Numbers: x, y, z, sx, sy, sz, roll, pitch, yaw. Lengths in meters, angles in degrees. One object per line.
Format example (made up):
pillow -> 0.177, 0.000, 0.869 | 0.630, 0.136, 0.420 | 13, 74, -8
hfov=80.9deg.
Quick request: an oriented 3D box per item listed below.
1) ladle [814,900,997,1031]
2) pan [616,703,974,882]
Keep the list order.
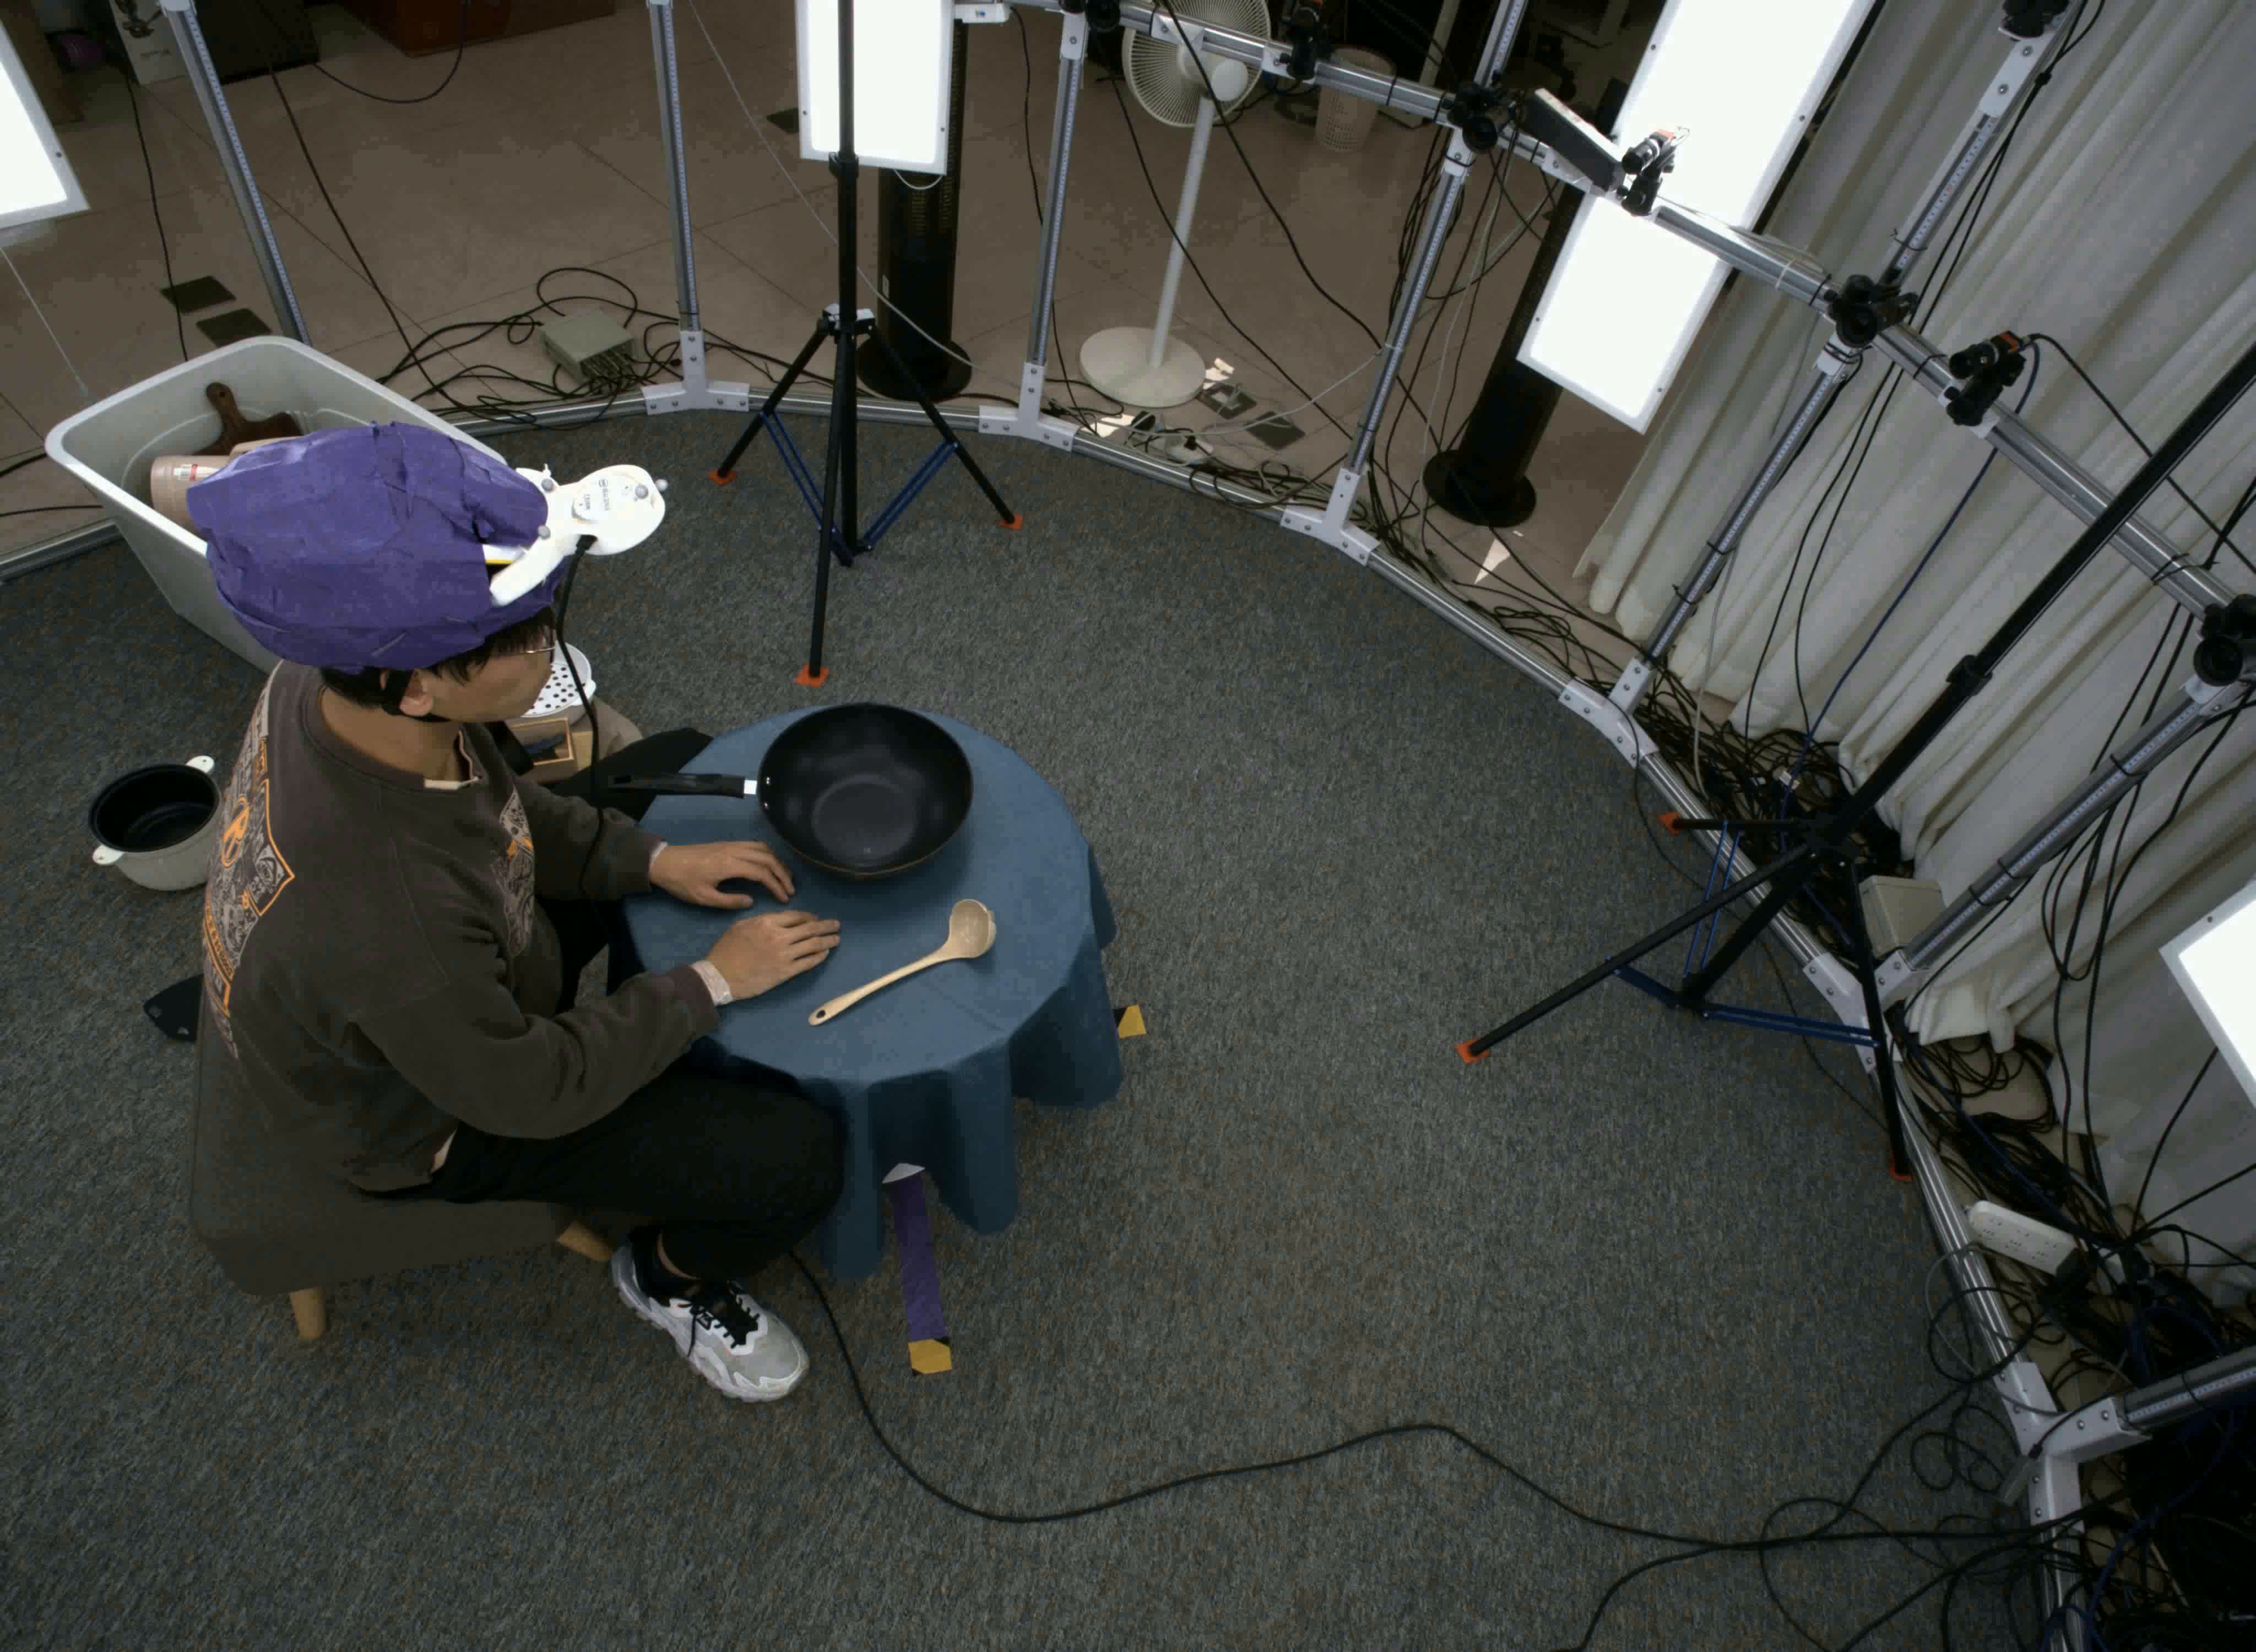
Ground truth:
ladle -> -0.275, 0.169, 1.603 | 0.255, 0.074, 0.070 | -28, 67, -31
pan -> -0.434, -0.031, 1.706 | 0.463, 0.089, 0.282 | 0, 55, -12
